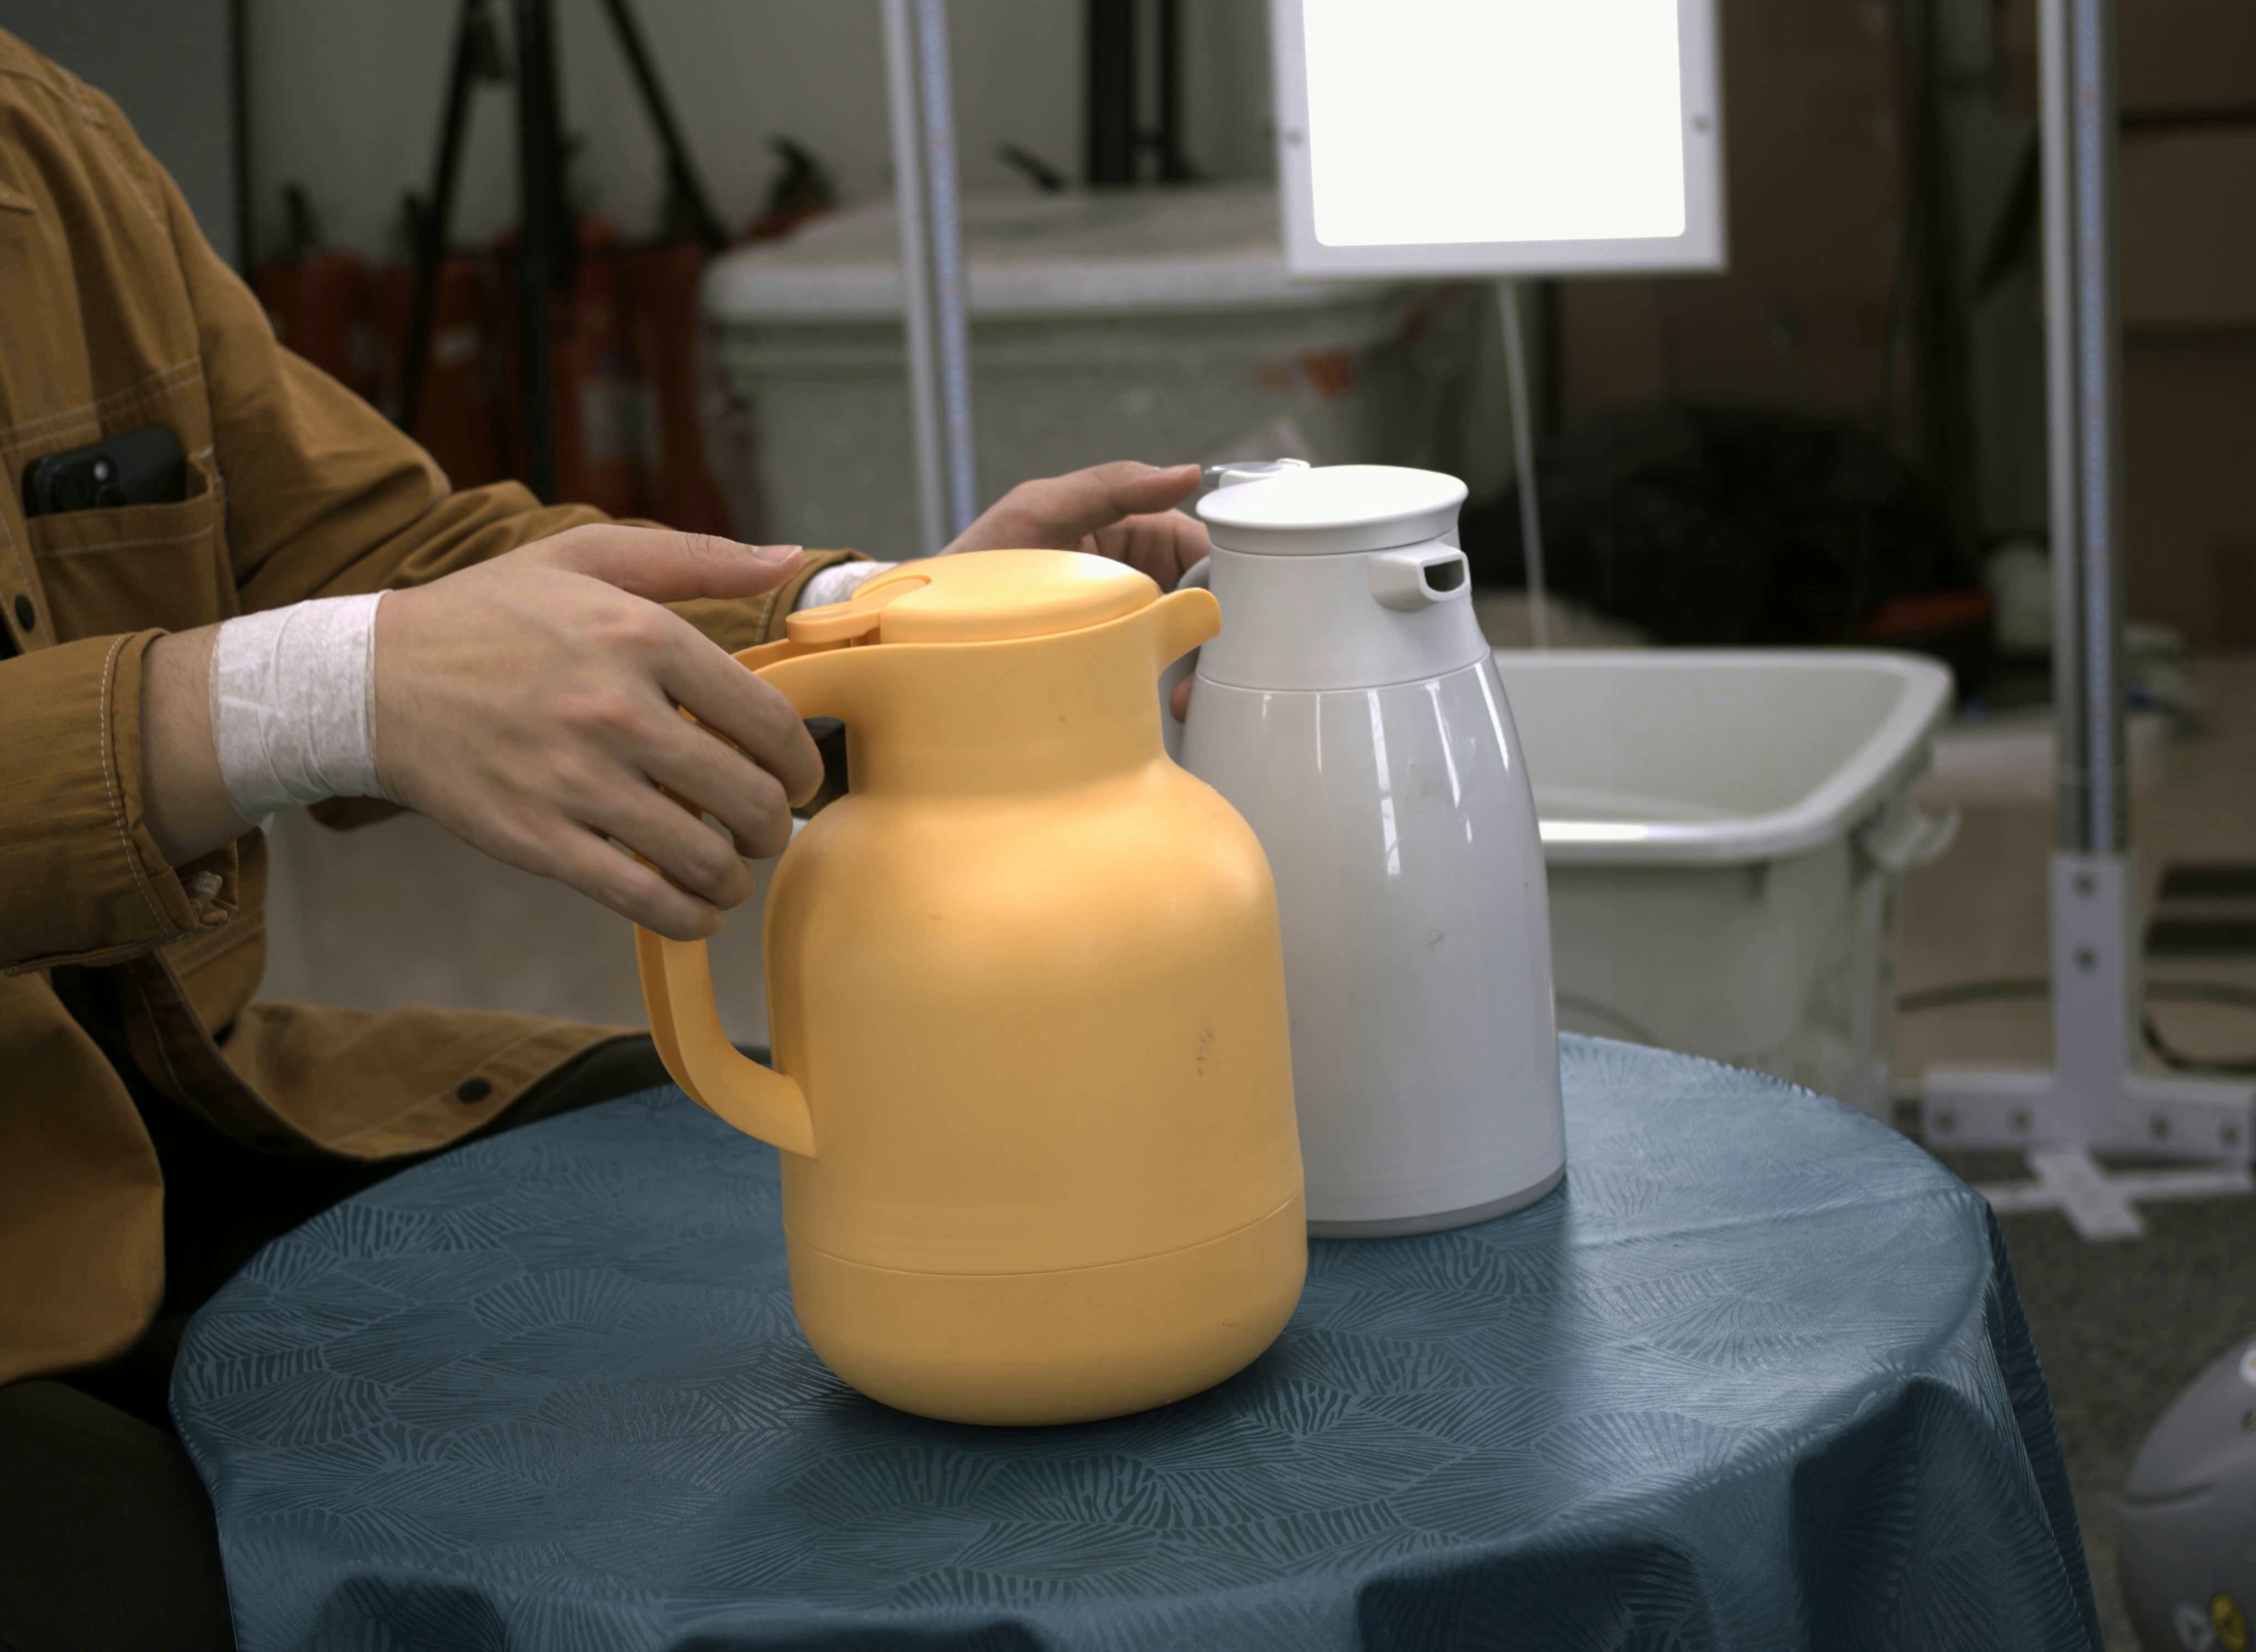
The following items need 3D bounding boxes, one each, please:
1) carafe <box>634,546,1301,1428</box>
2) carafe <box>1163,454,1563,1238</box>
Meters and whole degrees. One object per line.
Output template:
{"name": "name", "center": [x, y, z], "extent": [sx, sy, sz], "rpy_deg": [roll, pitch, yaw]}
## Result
{"name": "carafe", "center": [-0.051, 0.048, 1.693], "extent": [0.199, 0.261, 0.166], "rpy_deg": [-9, 12, -21]}
{"name": "carafe", "center": [0.064, -0.001, 1.873], "extent": [0.129, 0.249, 0.171], "rpy_deg": [-13, 16, -31]}
